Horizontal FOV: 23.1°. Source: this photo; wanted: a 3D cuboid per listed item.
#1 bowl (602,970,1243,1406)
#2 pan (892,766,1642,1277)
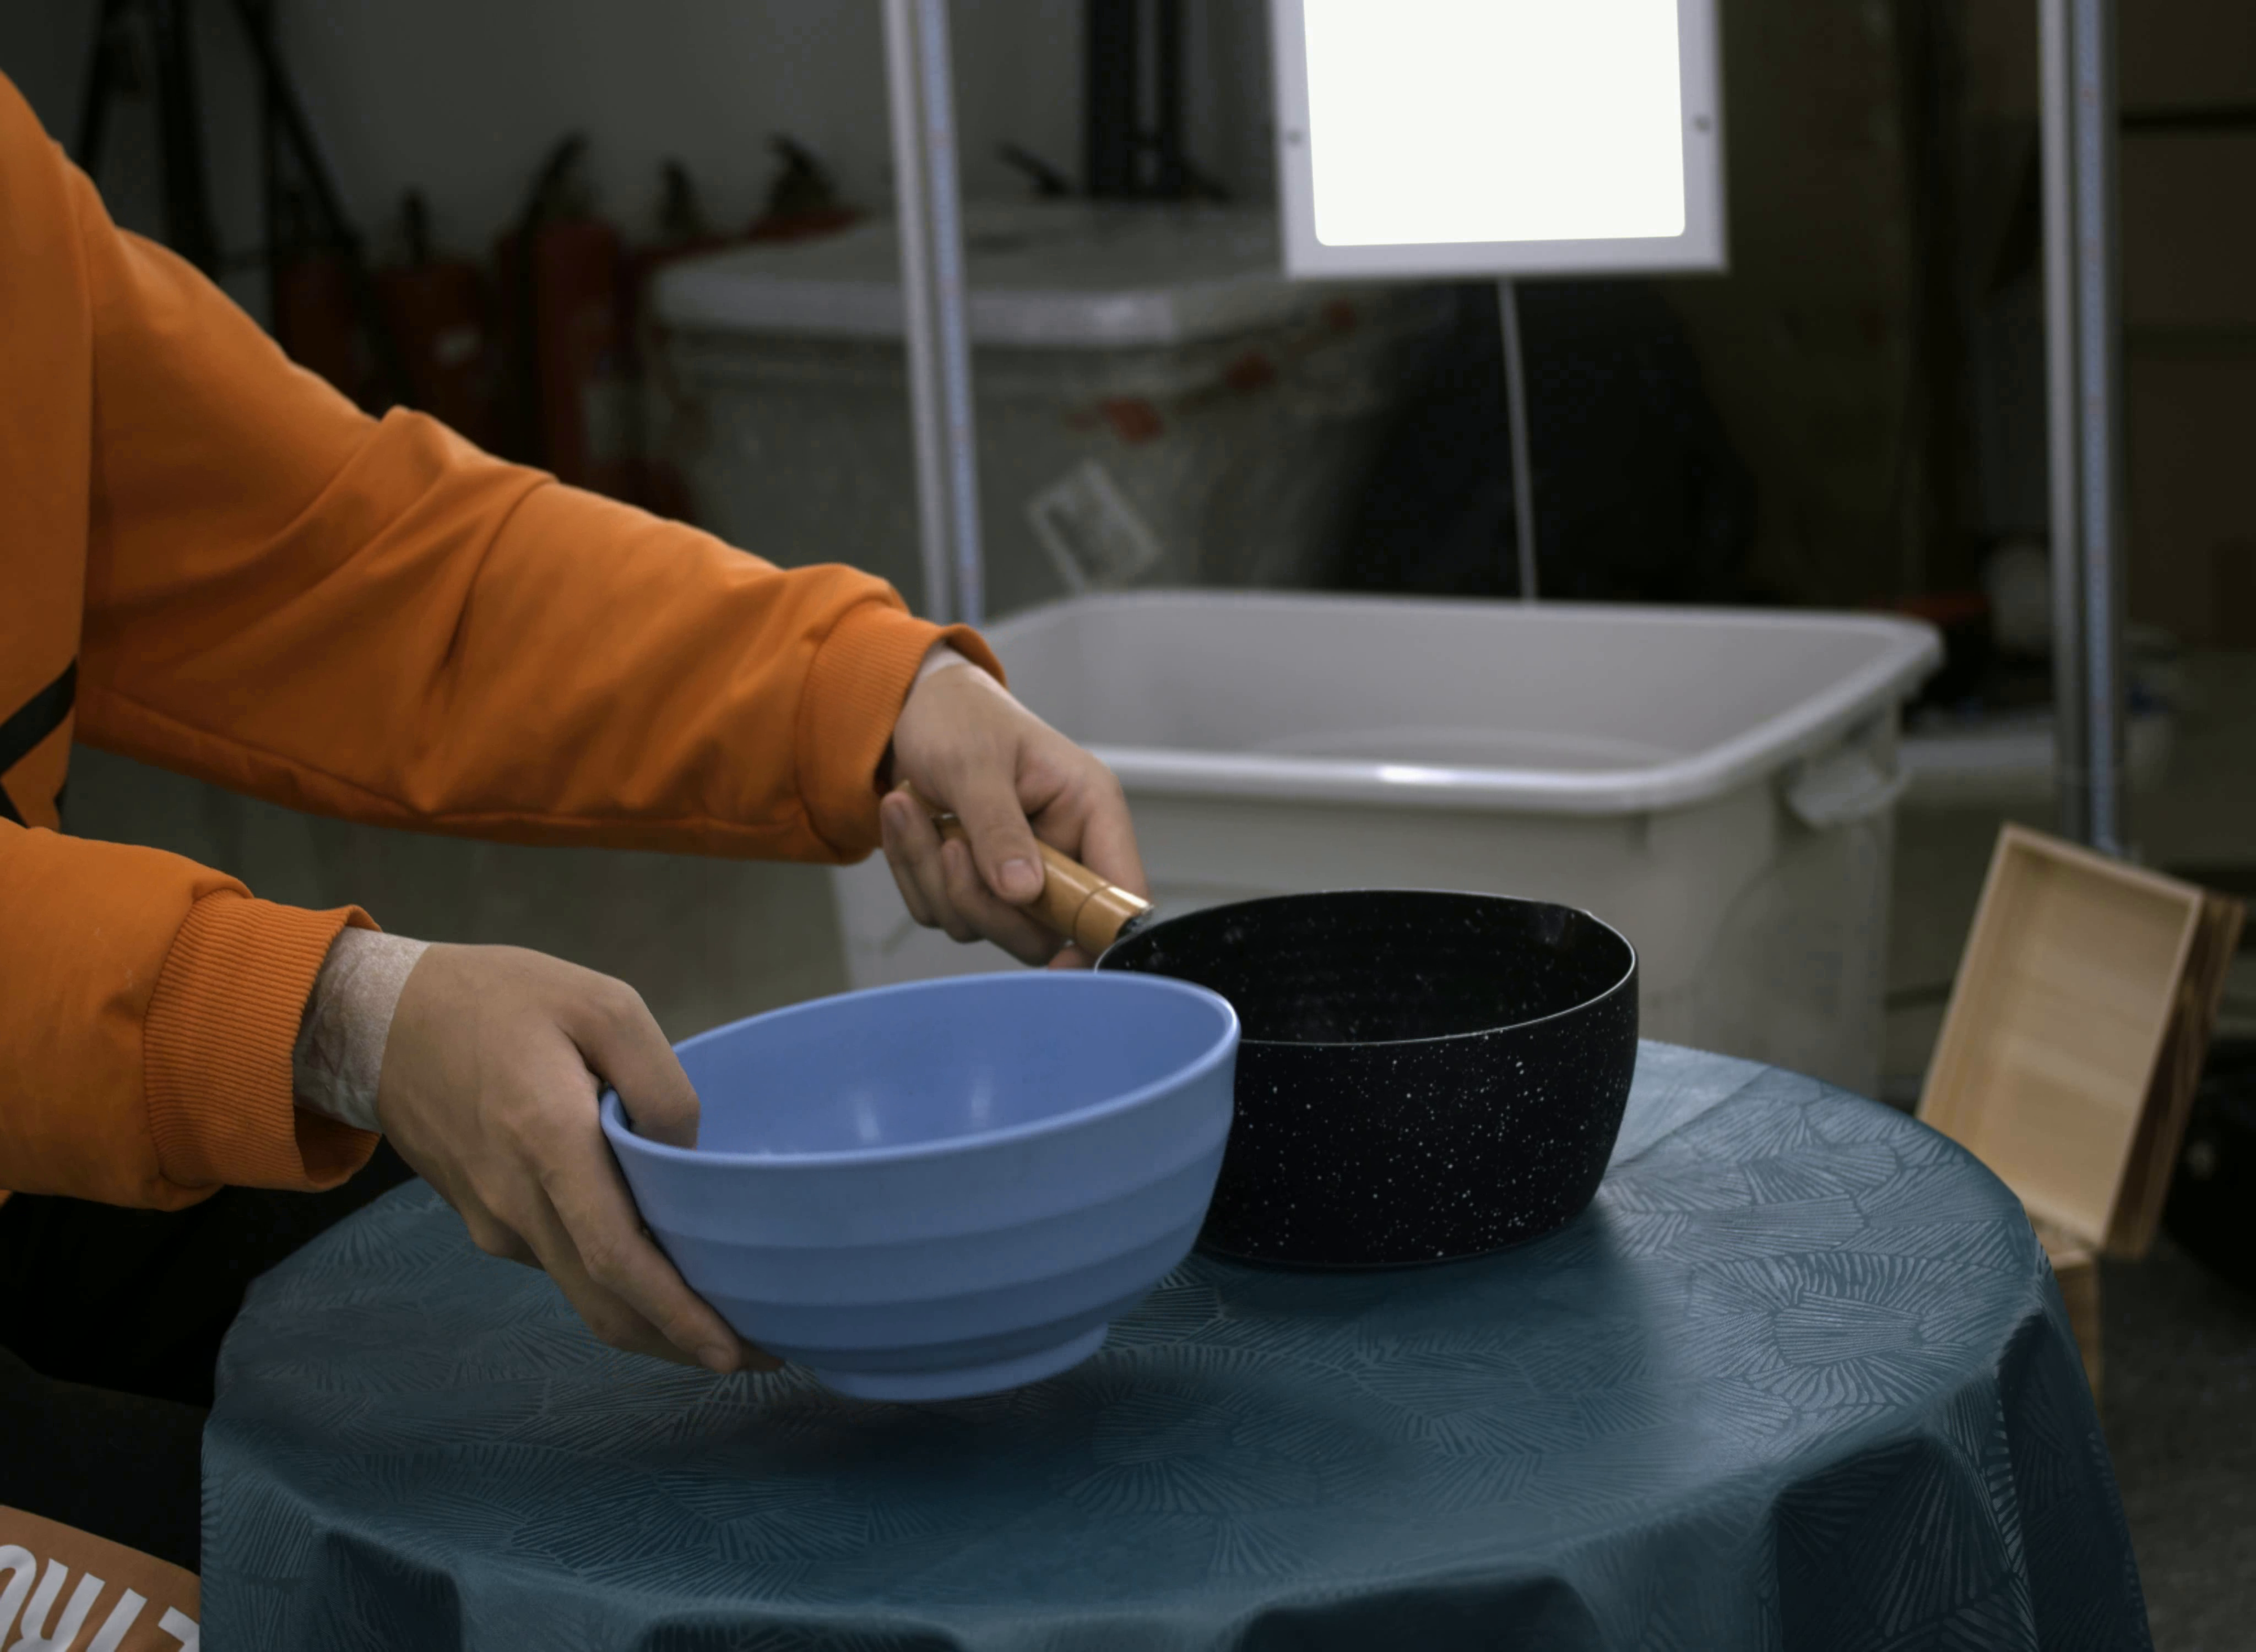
[{"bbox_3d":[-0.057,0.116,1.677,0.196,0.096,0.196,-8,14,1],"label":"bowl"},{"bbox_3d":[0.029,0.061,1.905,0.202,0.108,0.350,-16,21,-37],"label":"pan"}]
